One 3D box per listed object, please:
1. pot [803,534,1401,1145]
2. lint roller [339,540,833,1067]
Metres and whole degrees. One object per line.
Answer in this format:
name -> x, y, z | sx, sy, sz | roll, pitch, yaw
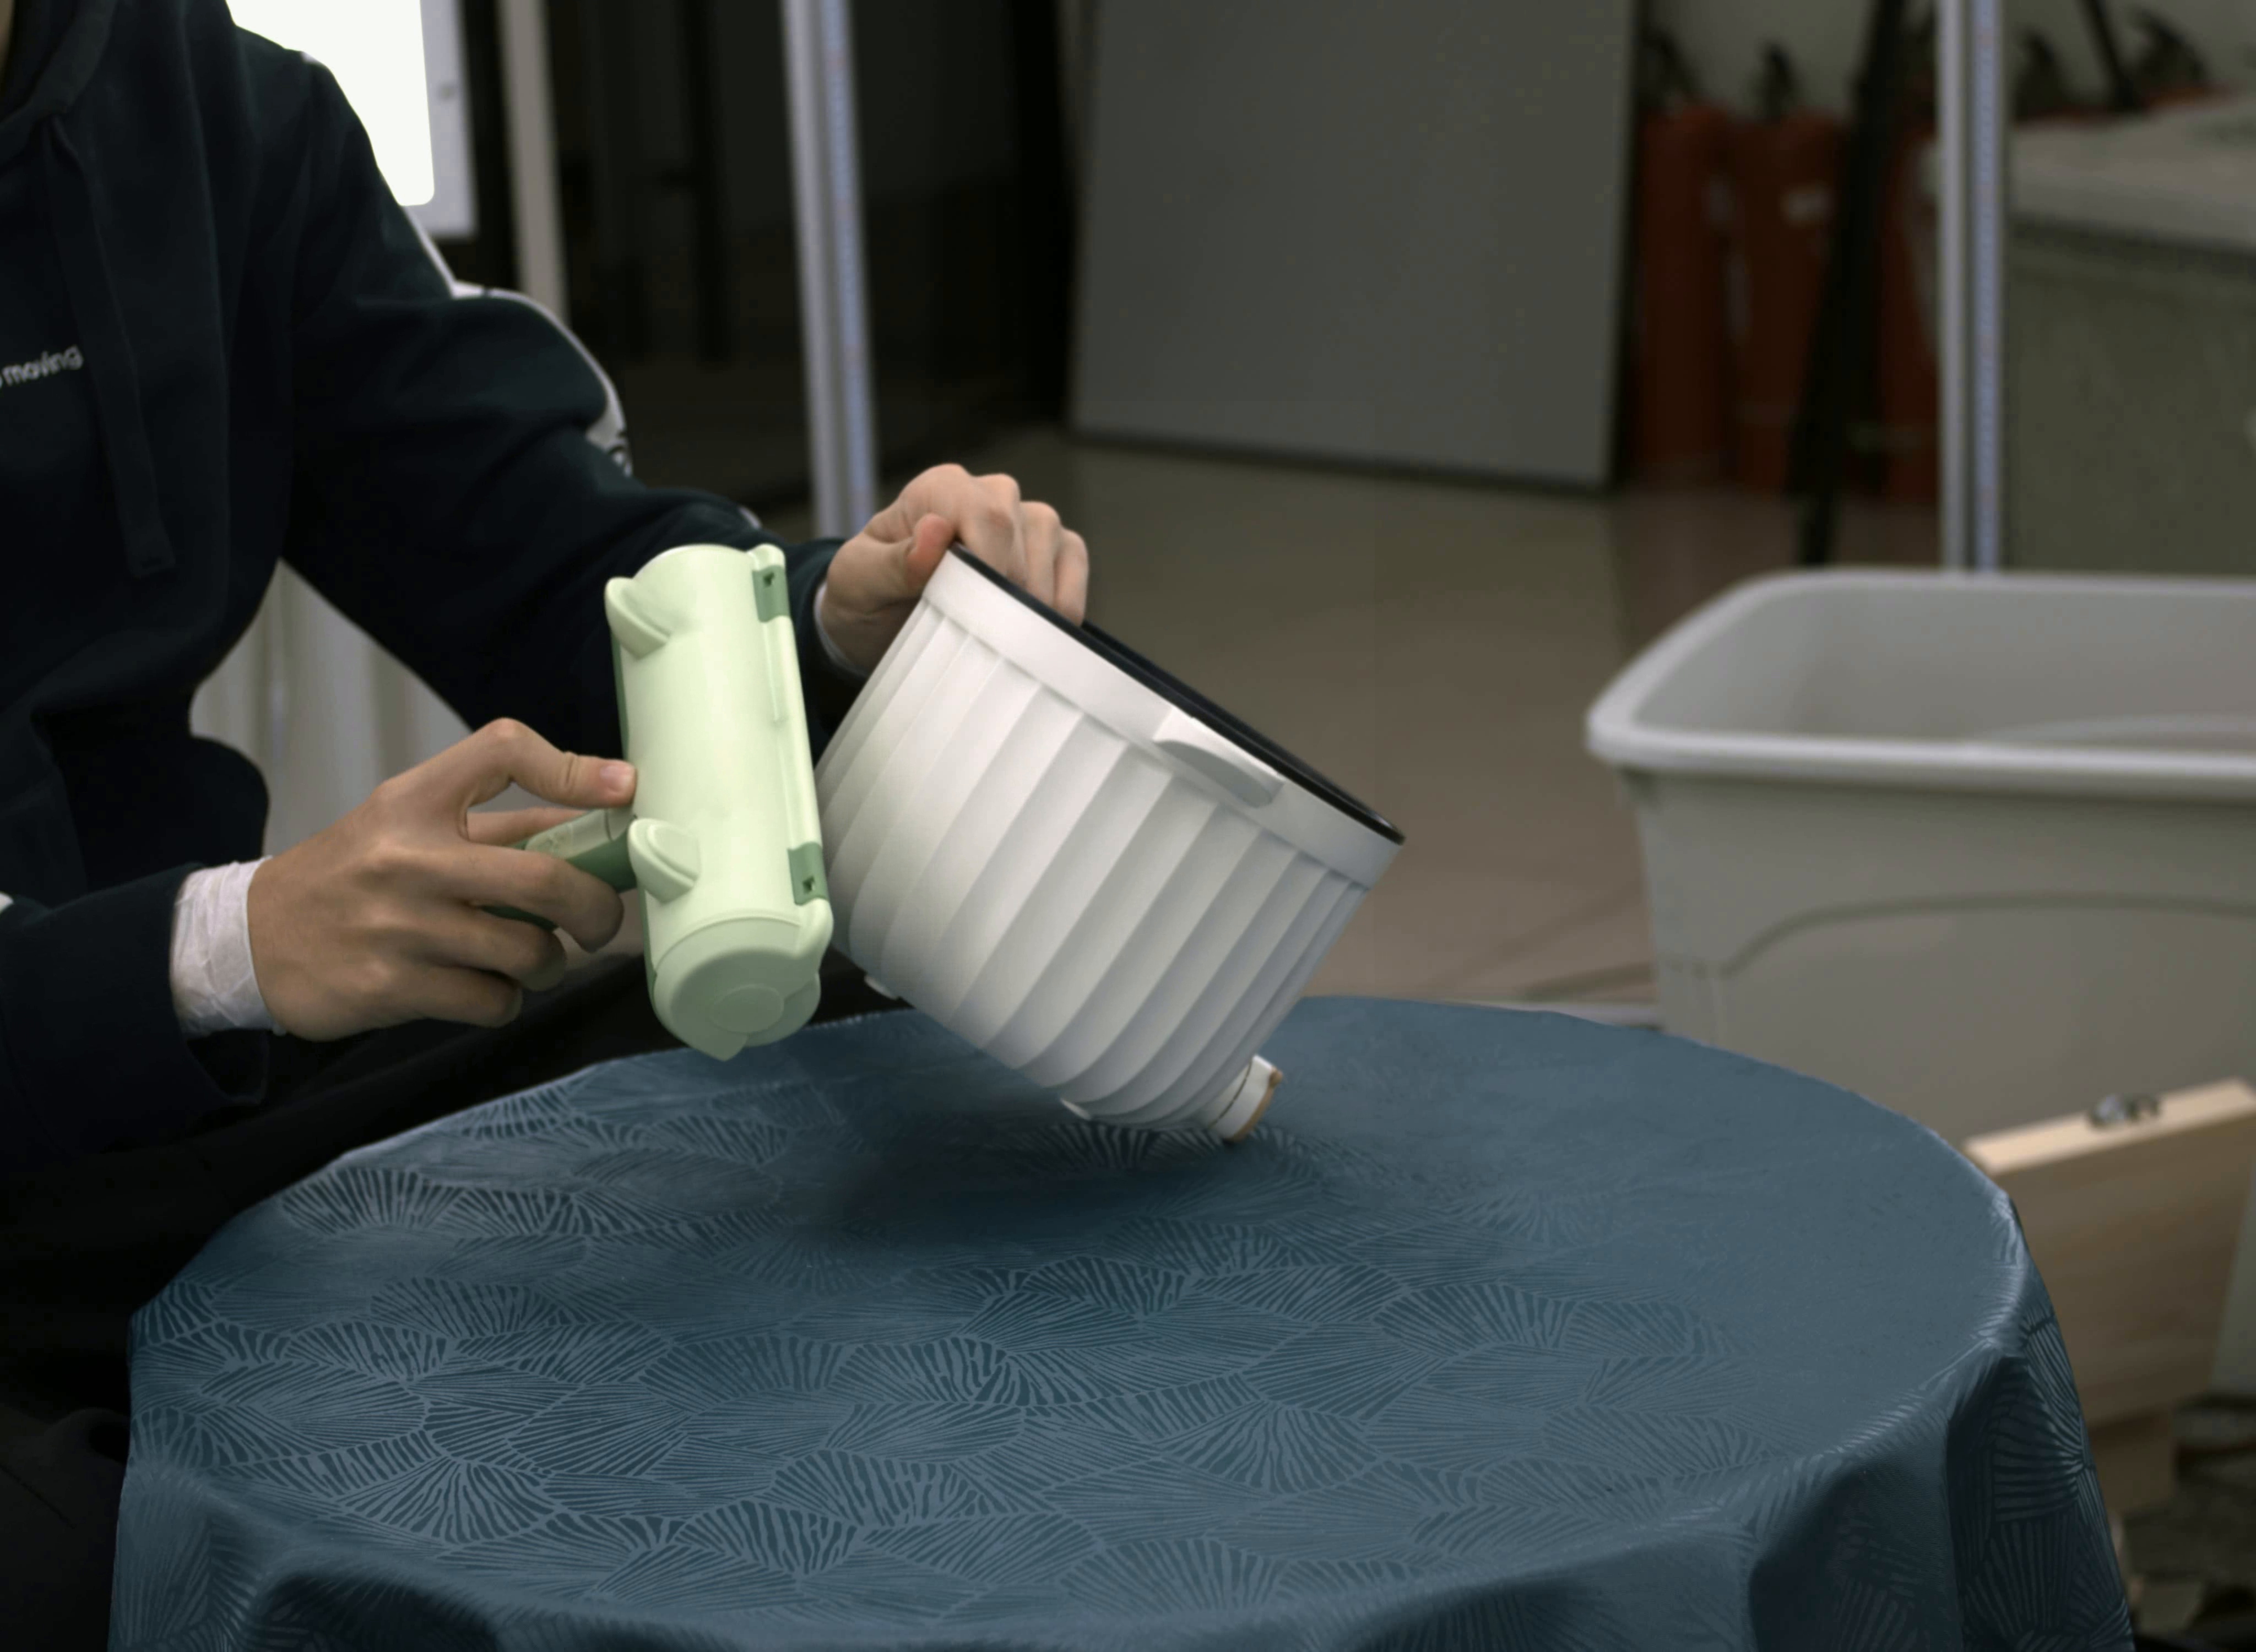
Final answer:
pot -> -0.015, 0.011, 1.794 | 0.188, 0.143, 0.241 | 29, 4, -13
lint roller -> -0.185, 0.004, 1.741 | 0.182, 0.082, 0.200 | -21, 43, 10
